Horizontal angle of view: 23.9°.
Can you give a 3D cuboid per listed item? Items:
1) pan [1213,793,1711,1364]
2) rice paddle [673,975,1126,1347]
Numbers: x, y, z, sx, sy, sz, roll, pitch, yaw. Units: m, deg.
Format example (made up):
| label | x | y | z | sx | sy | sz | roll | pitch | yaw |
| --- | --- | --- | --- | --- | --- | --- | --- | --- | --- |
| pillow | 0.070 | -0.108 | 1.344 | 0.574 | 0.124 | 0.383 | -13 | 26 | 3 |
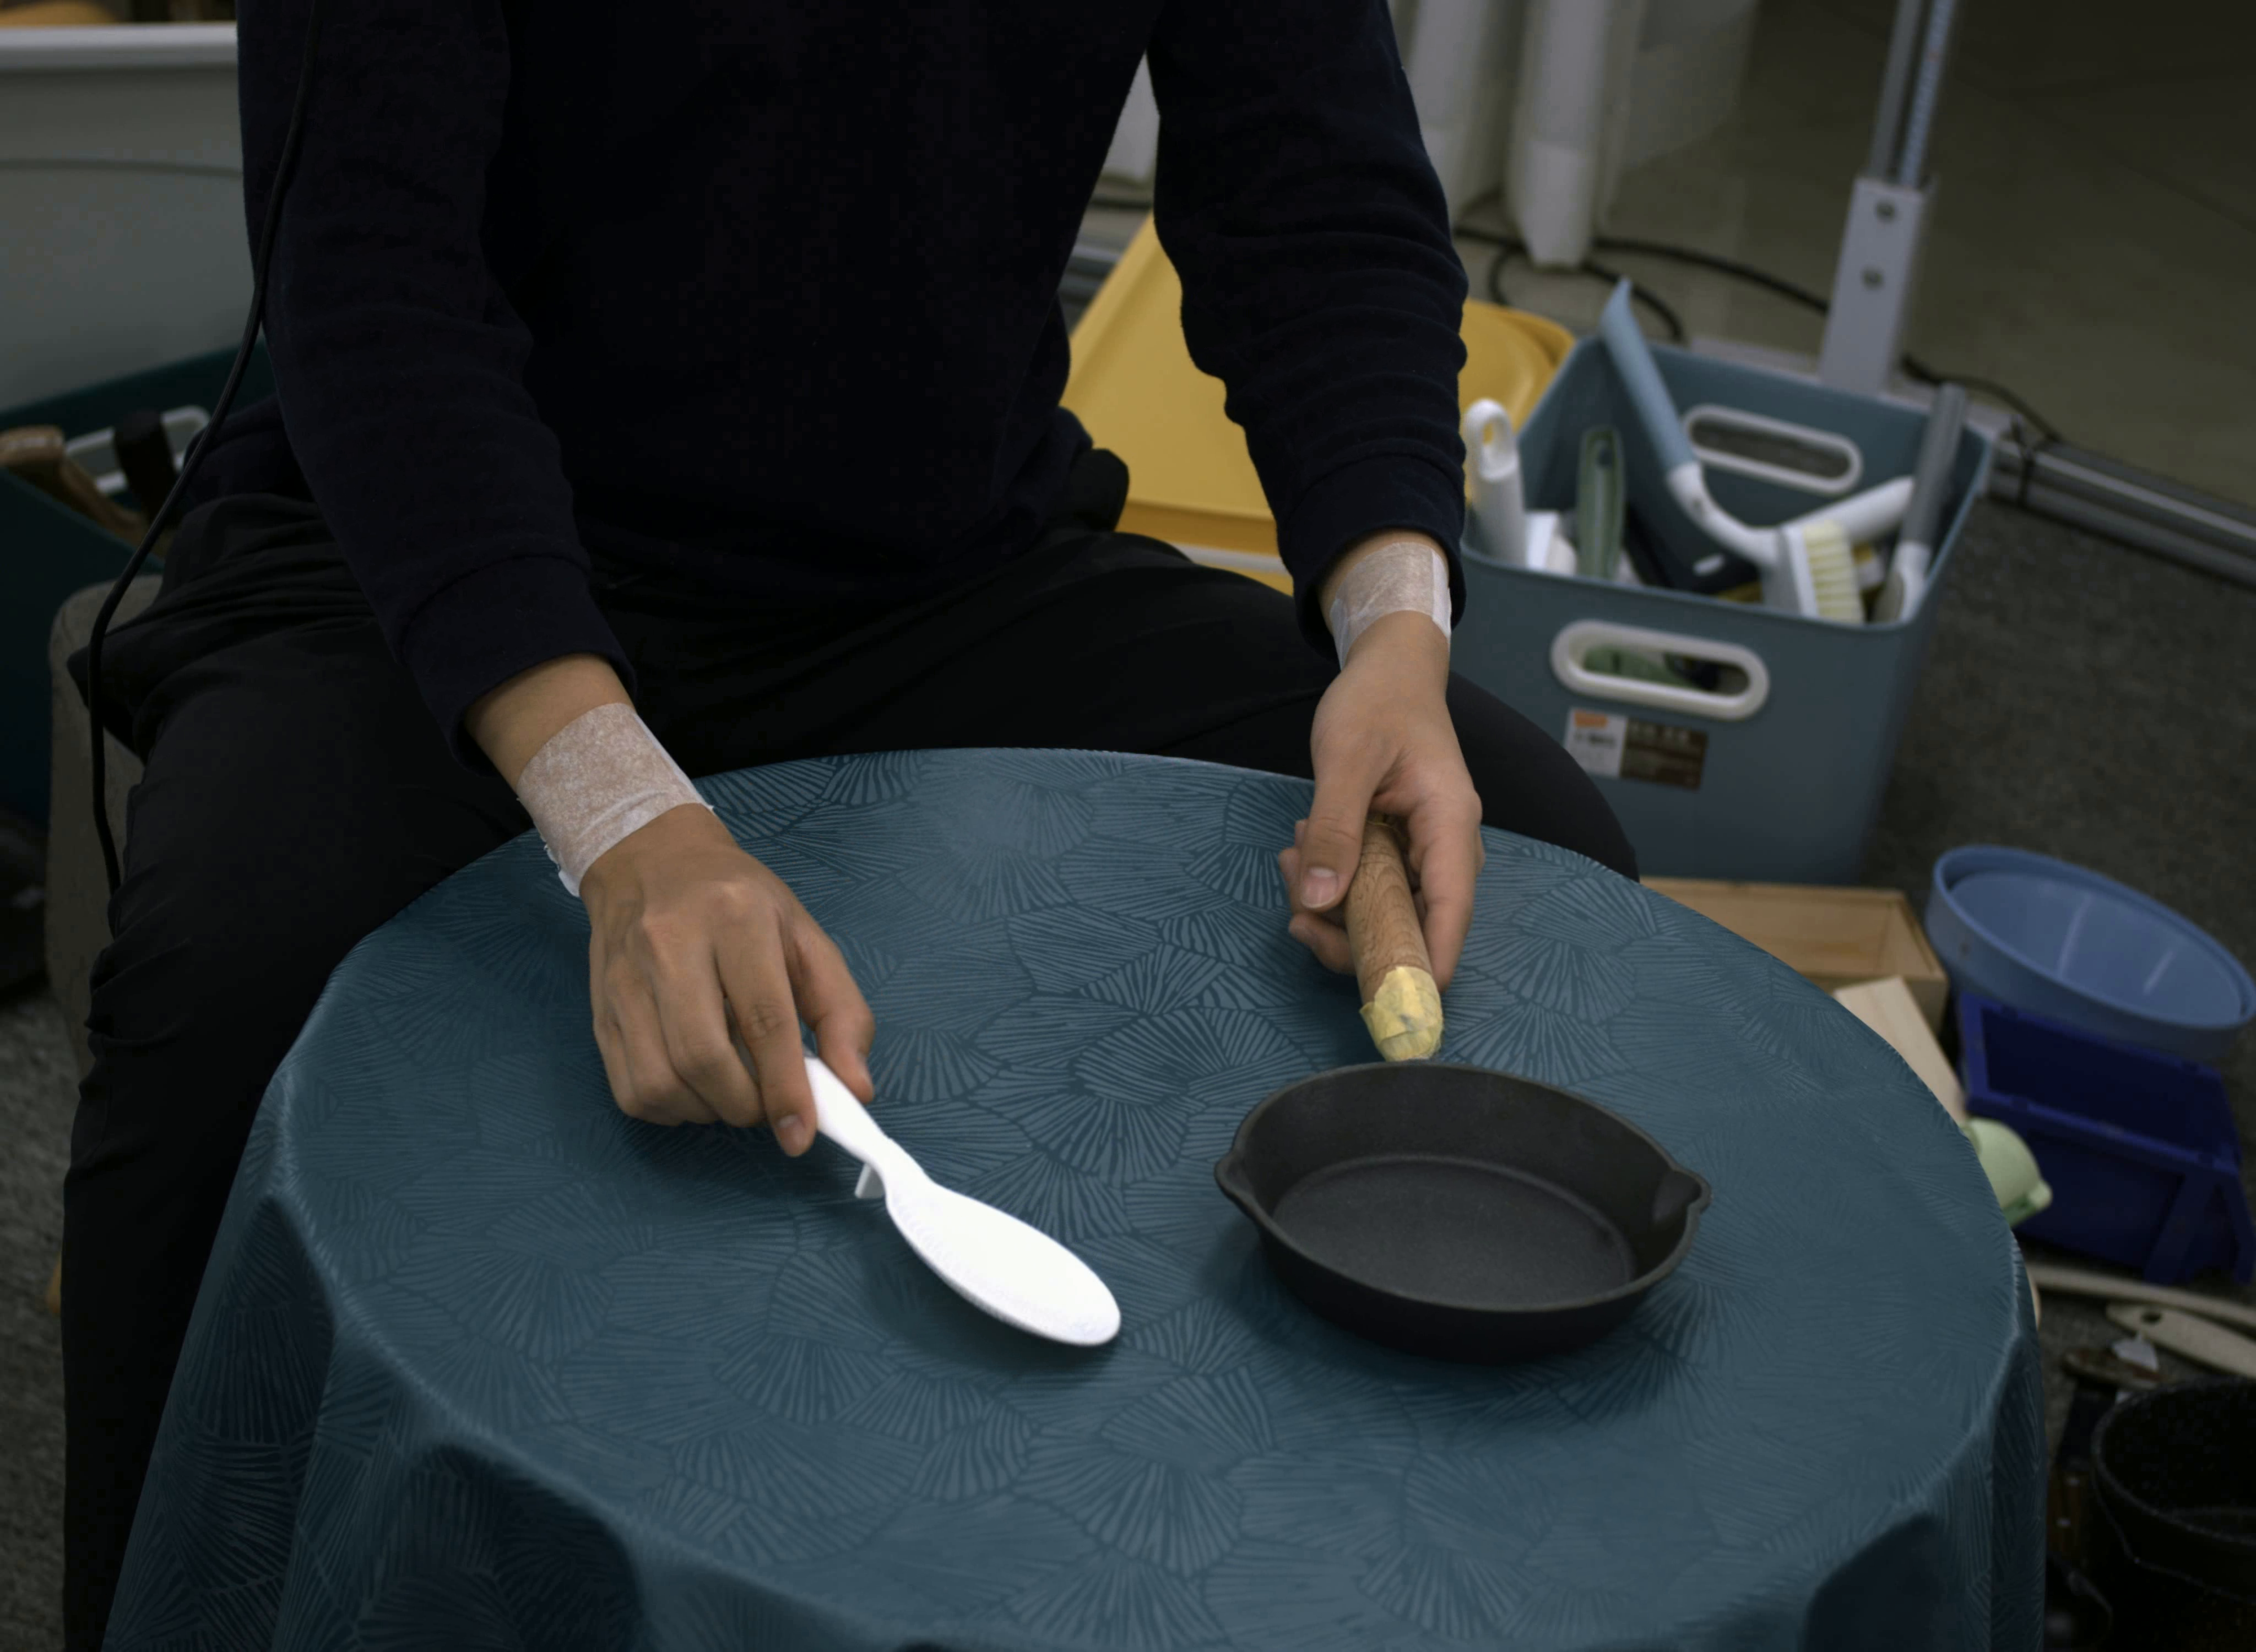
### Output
| label | x | y | z | sx | sy | sz | roll | pitch | yaw |
| --- | --- | --- | --- | --- | --- | --- | --- | --- | --- |
| pan | 0.104 | 0.084 | 1.847 | 0.168 | 0.049 | 0.326 | 3 | 29 | -7 |
| rice paddle | -0.076 | 0.113 | 1.758 | 0.068 | 0.029 | 0.207 | -4 | 32 | -47 |
